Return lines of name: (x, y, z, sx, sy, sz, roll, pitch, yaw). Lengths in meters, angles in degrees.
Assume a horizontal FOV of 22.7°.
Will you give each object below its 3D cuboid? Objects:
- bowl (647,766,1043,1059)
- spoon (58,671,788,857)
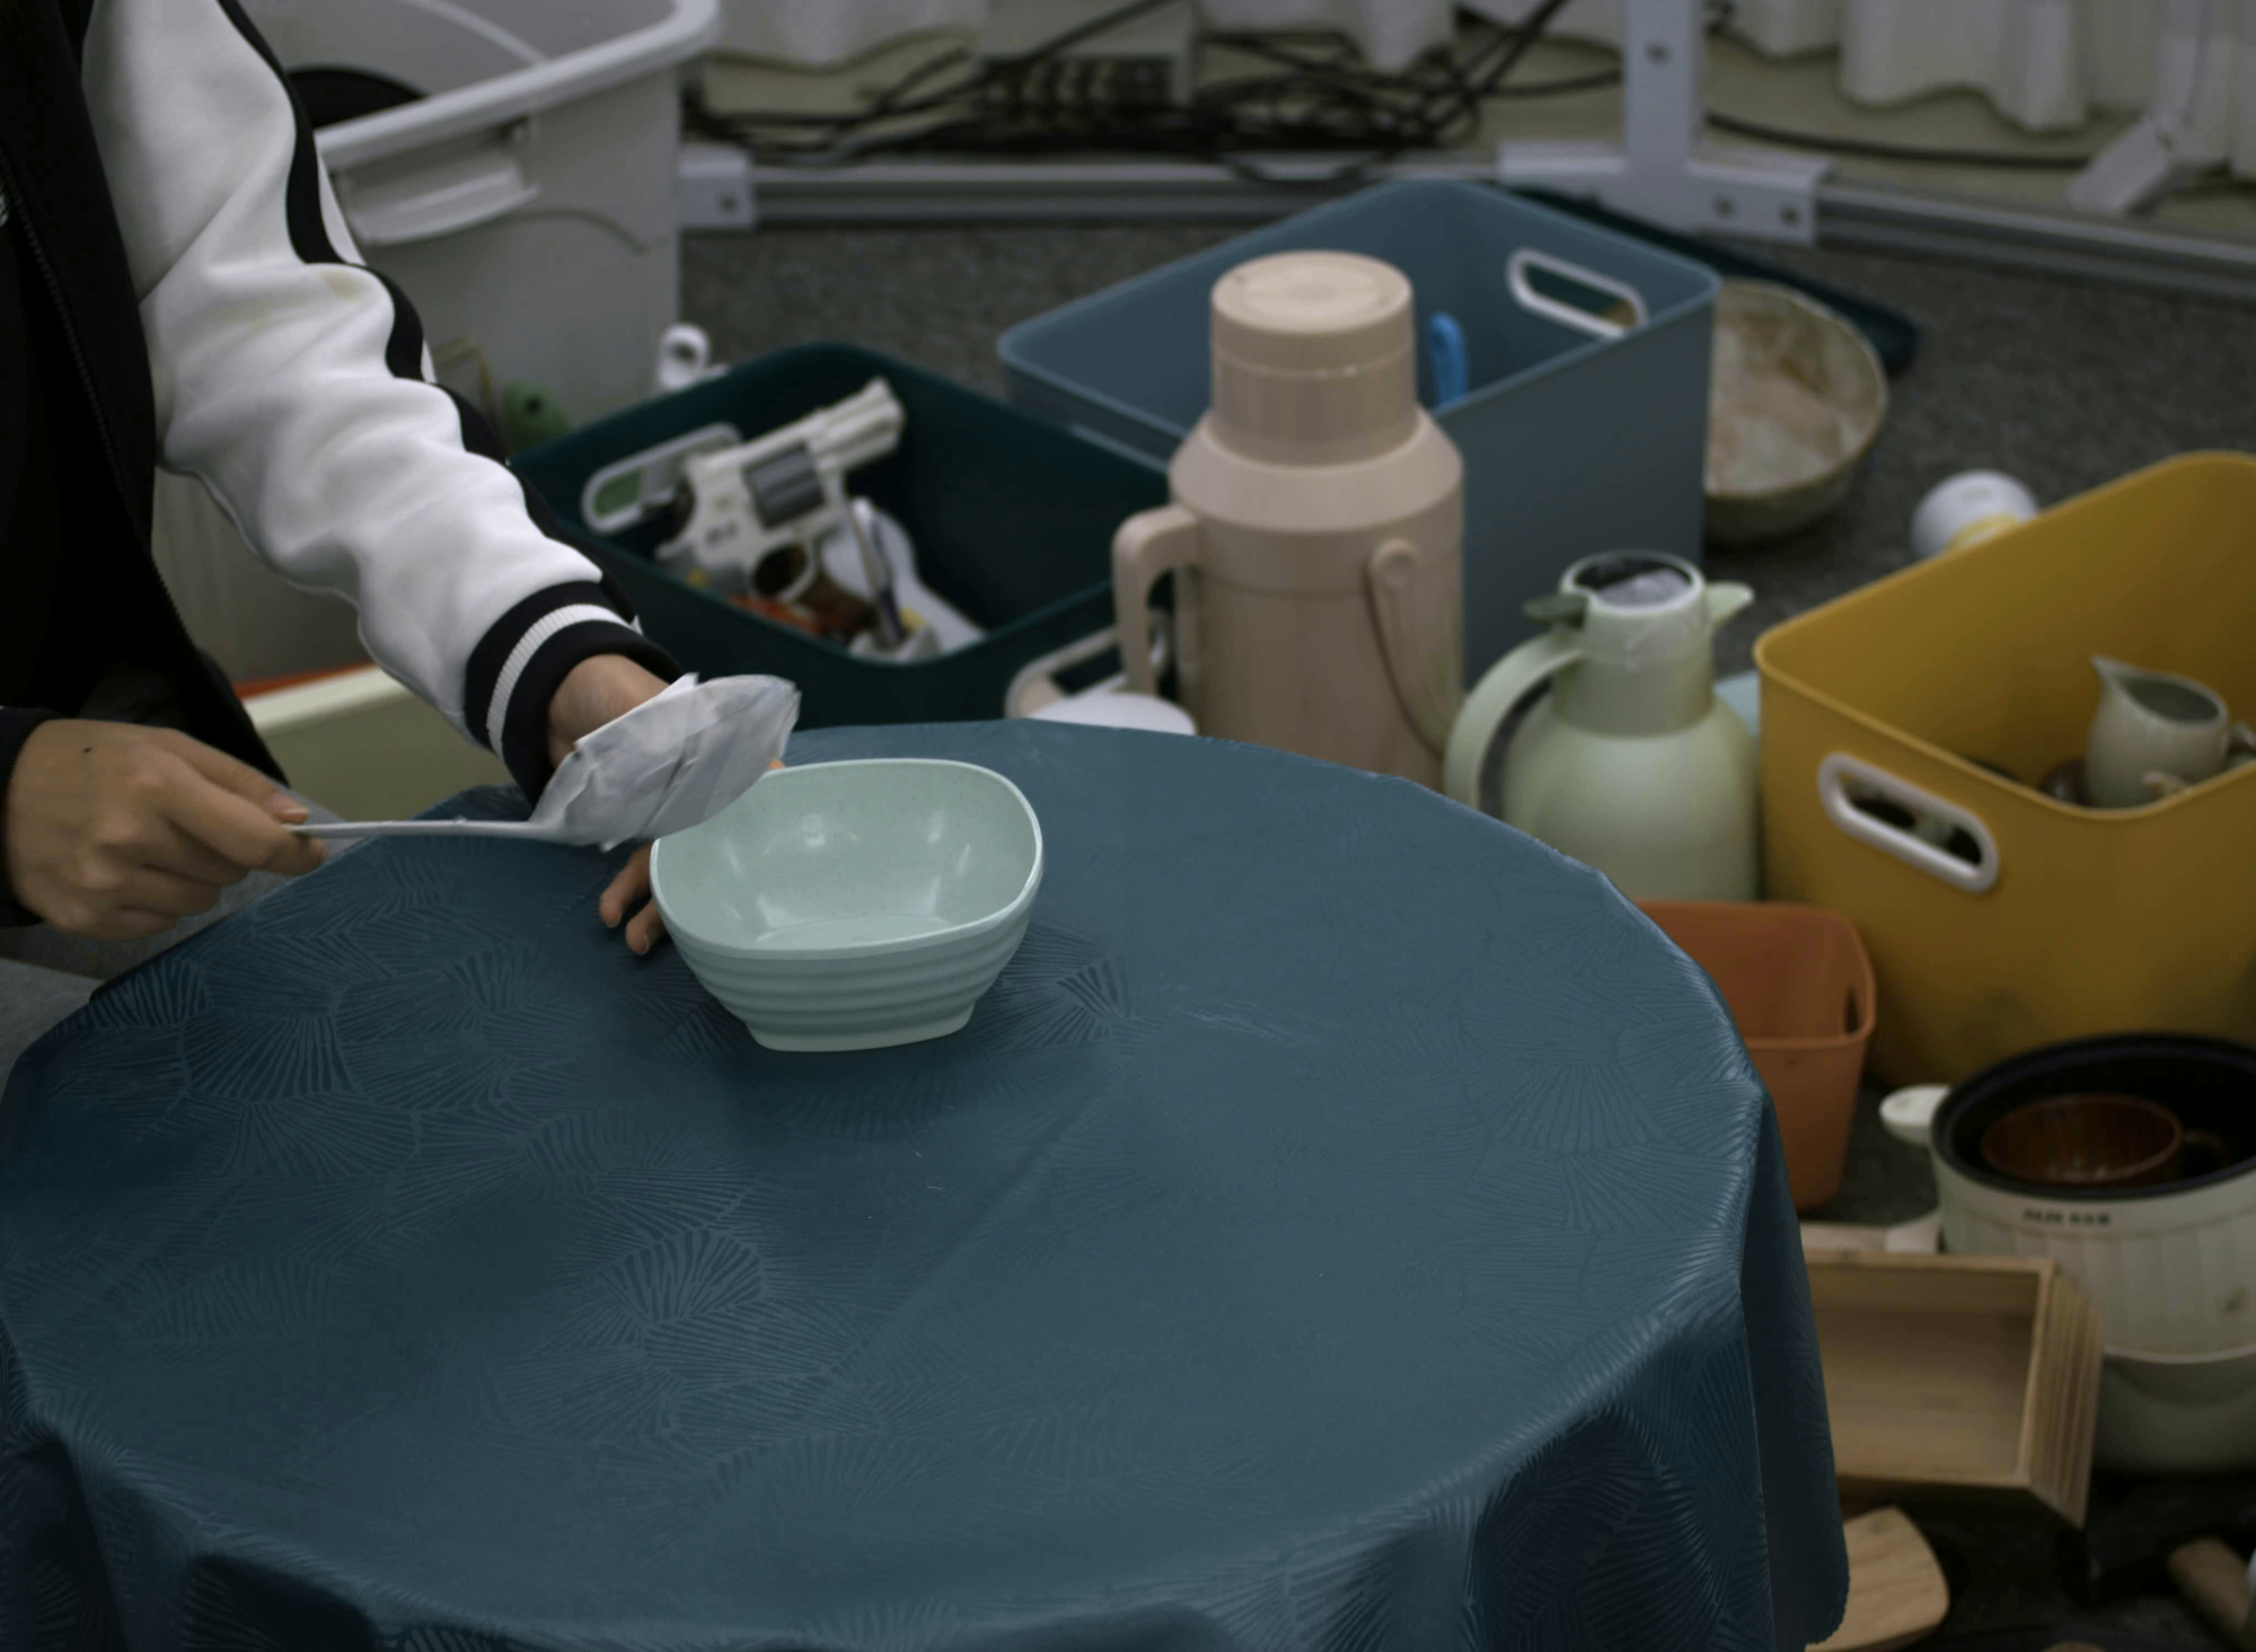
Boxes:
bowl: (-0.098, 0.036, 1.979, 0.151, 0.058, 0.154, -2, 27, 1)
spoon: (-0.243, -0.019, 1.908, 0.275, 0.060, 0.100, 0, -17, 26)
